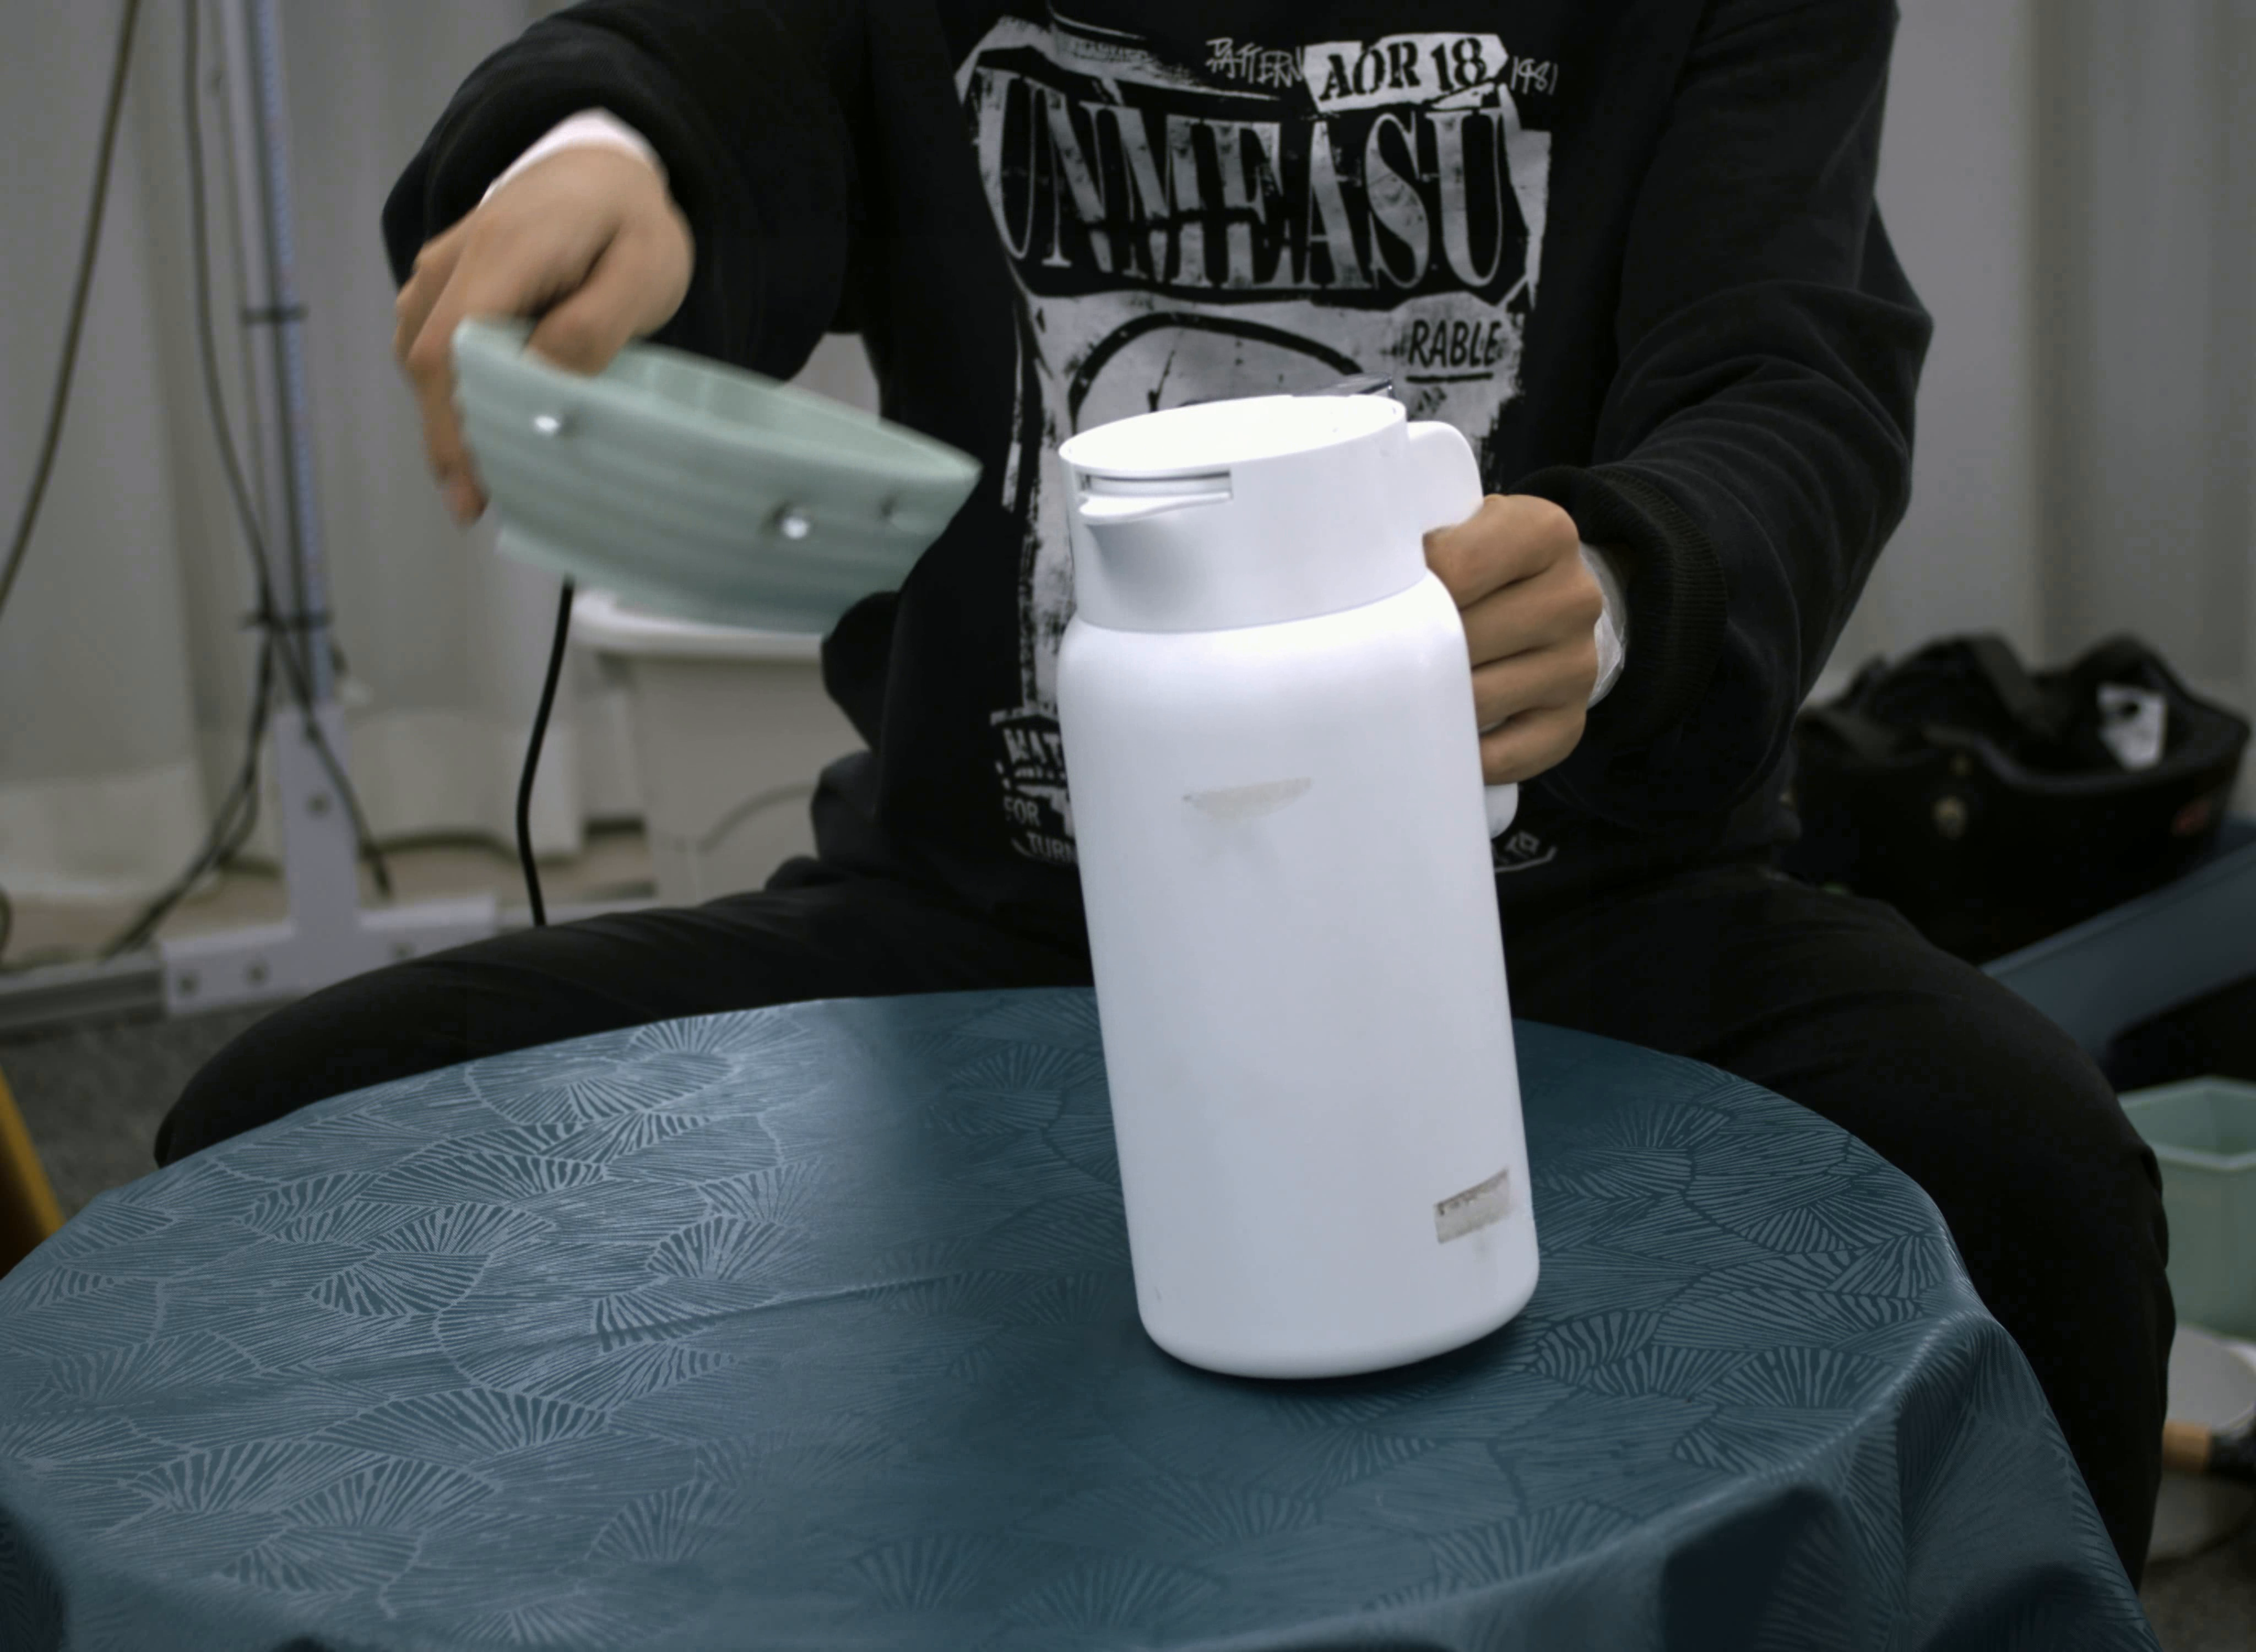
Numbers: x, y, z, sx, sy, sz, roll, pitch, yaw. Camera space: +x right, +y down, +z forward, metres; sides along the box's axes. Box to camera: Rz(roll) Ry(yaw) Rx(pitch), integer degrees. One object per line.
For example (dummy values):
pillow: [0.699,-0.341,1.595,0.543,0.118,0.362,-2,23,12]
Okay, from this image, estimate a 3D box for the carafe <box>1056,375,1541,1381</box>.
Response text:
carafe: [0.054,0.011,1.568,0.124,0.268,0.173,-1,14,35]

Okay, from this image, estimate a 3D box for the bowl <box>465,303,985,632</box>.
bowl: [-0.119,-0.096,1.524,0.151,0.058,0.152,18,8,-3]
